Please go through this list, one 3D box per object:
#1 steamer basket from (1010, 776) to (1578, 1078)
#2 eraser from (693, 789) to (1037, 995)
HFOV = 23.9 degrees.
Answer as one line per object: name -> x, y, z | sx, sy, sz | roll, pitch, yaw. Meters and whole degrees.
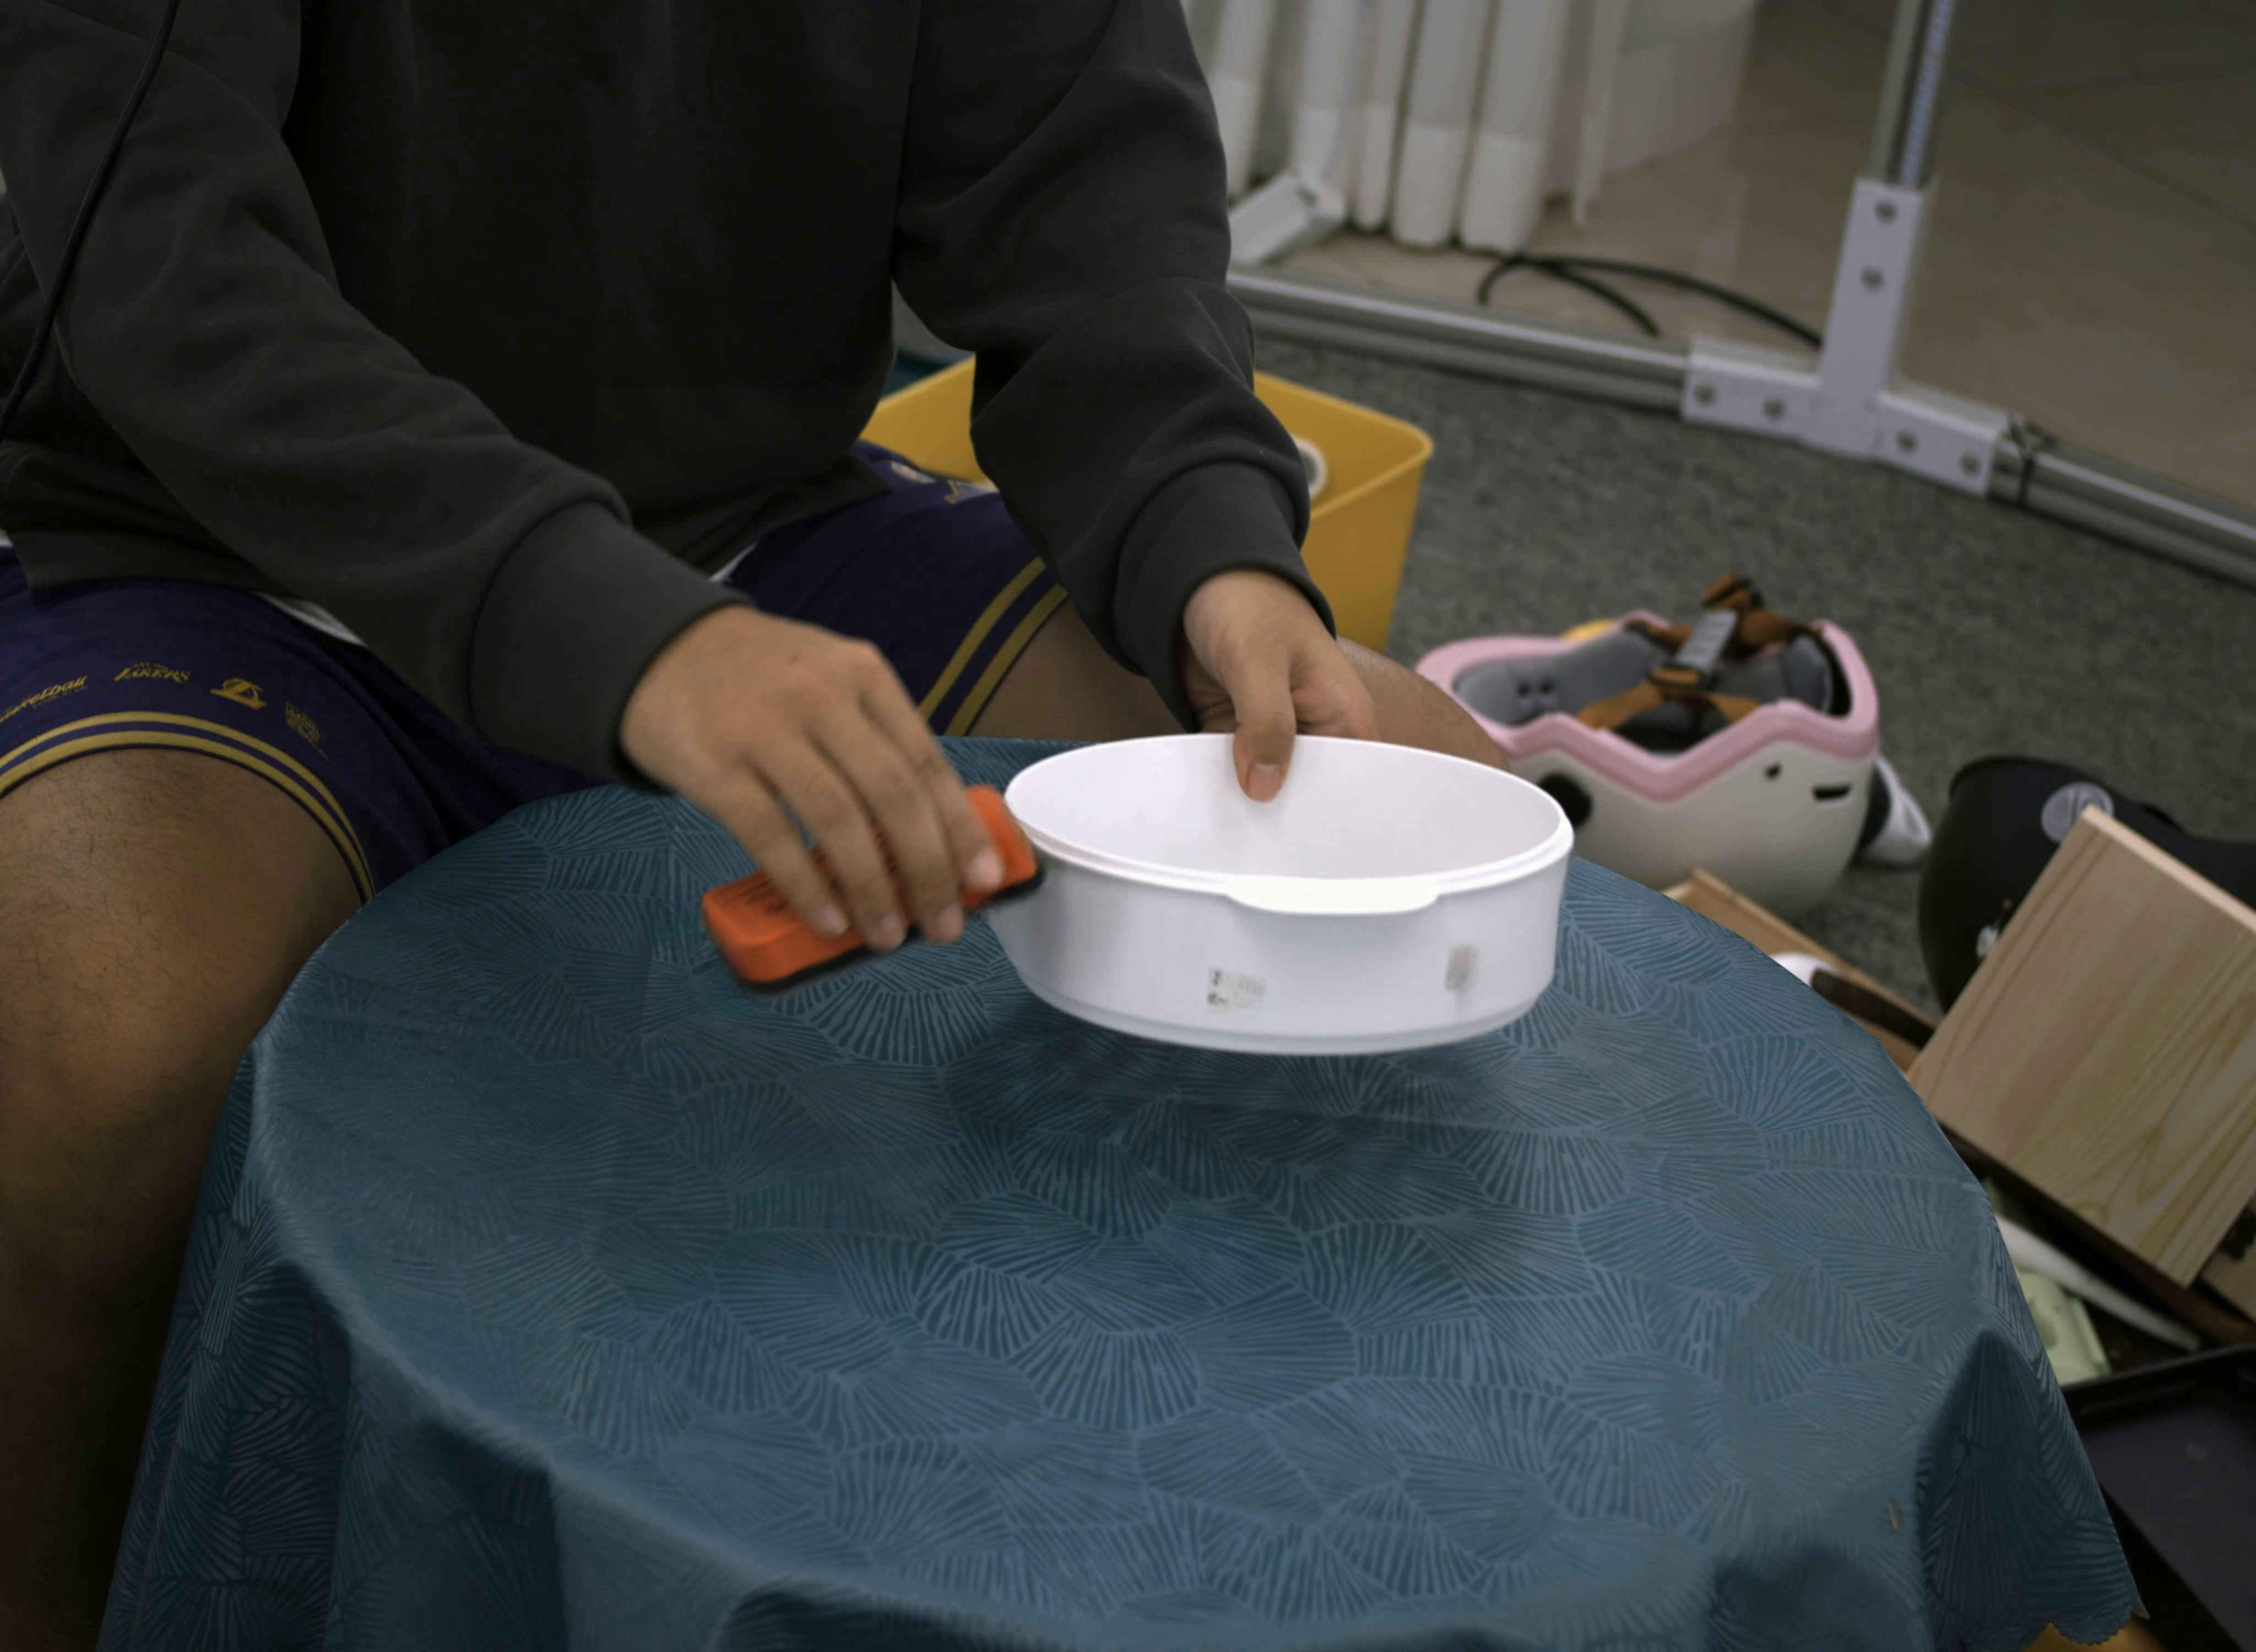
steamer basket -> 0.056, 0.035, 1.856 | 0.201, 0.069, 0.231 | -3, 13, -7
eraser -> -0.088, 0.021, 1.773 | 0.107, 0.023, 0.059 | -23, 19, -15
